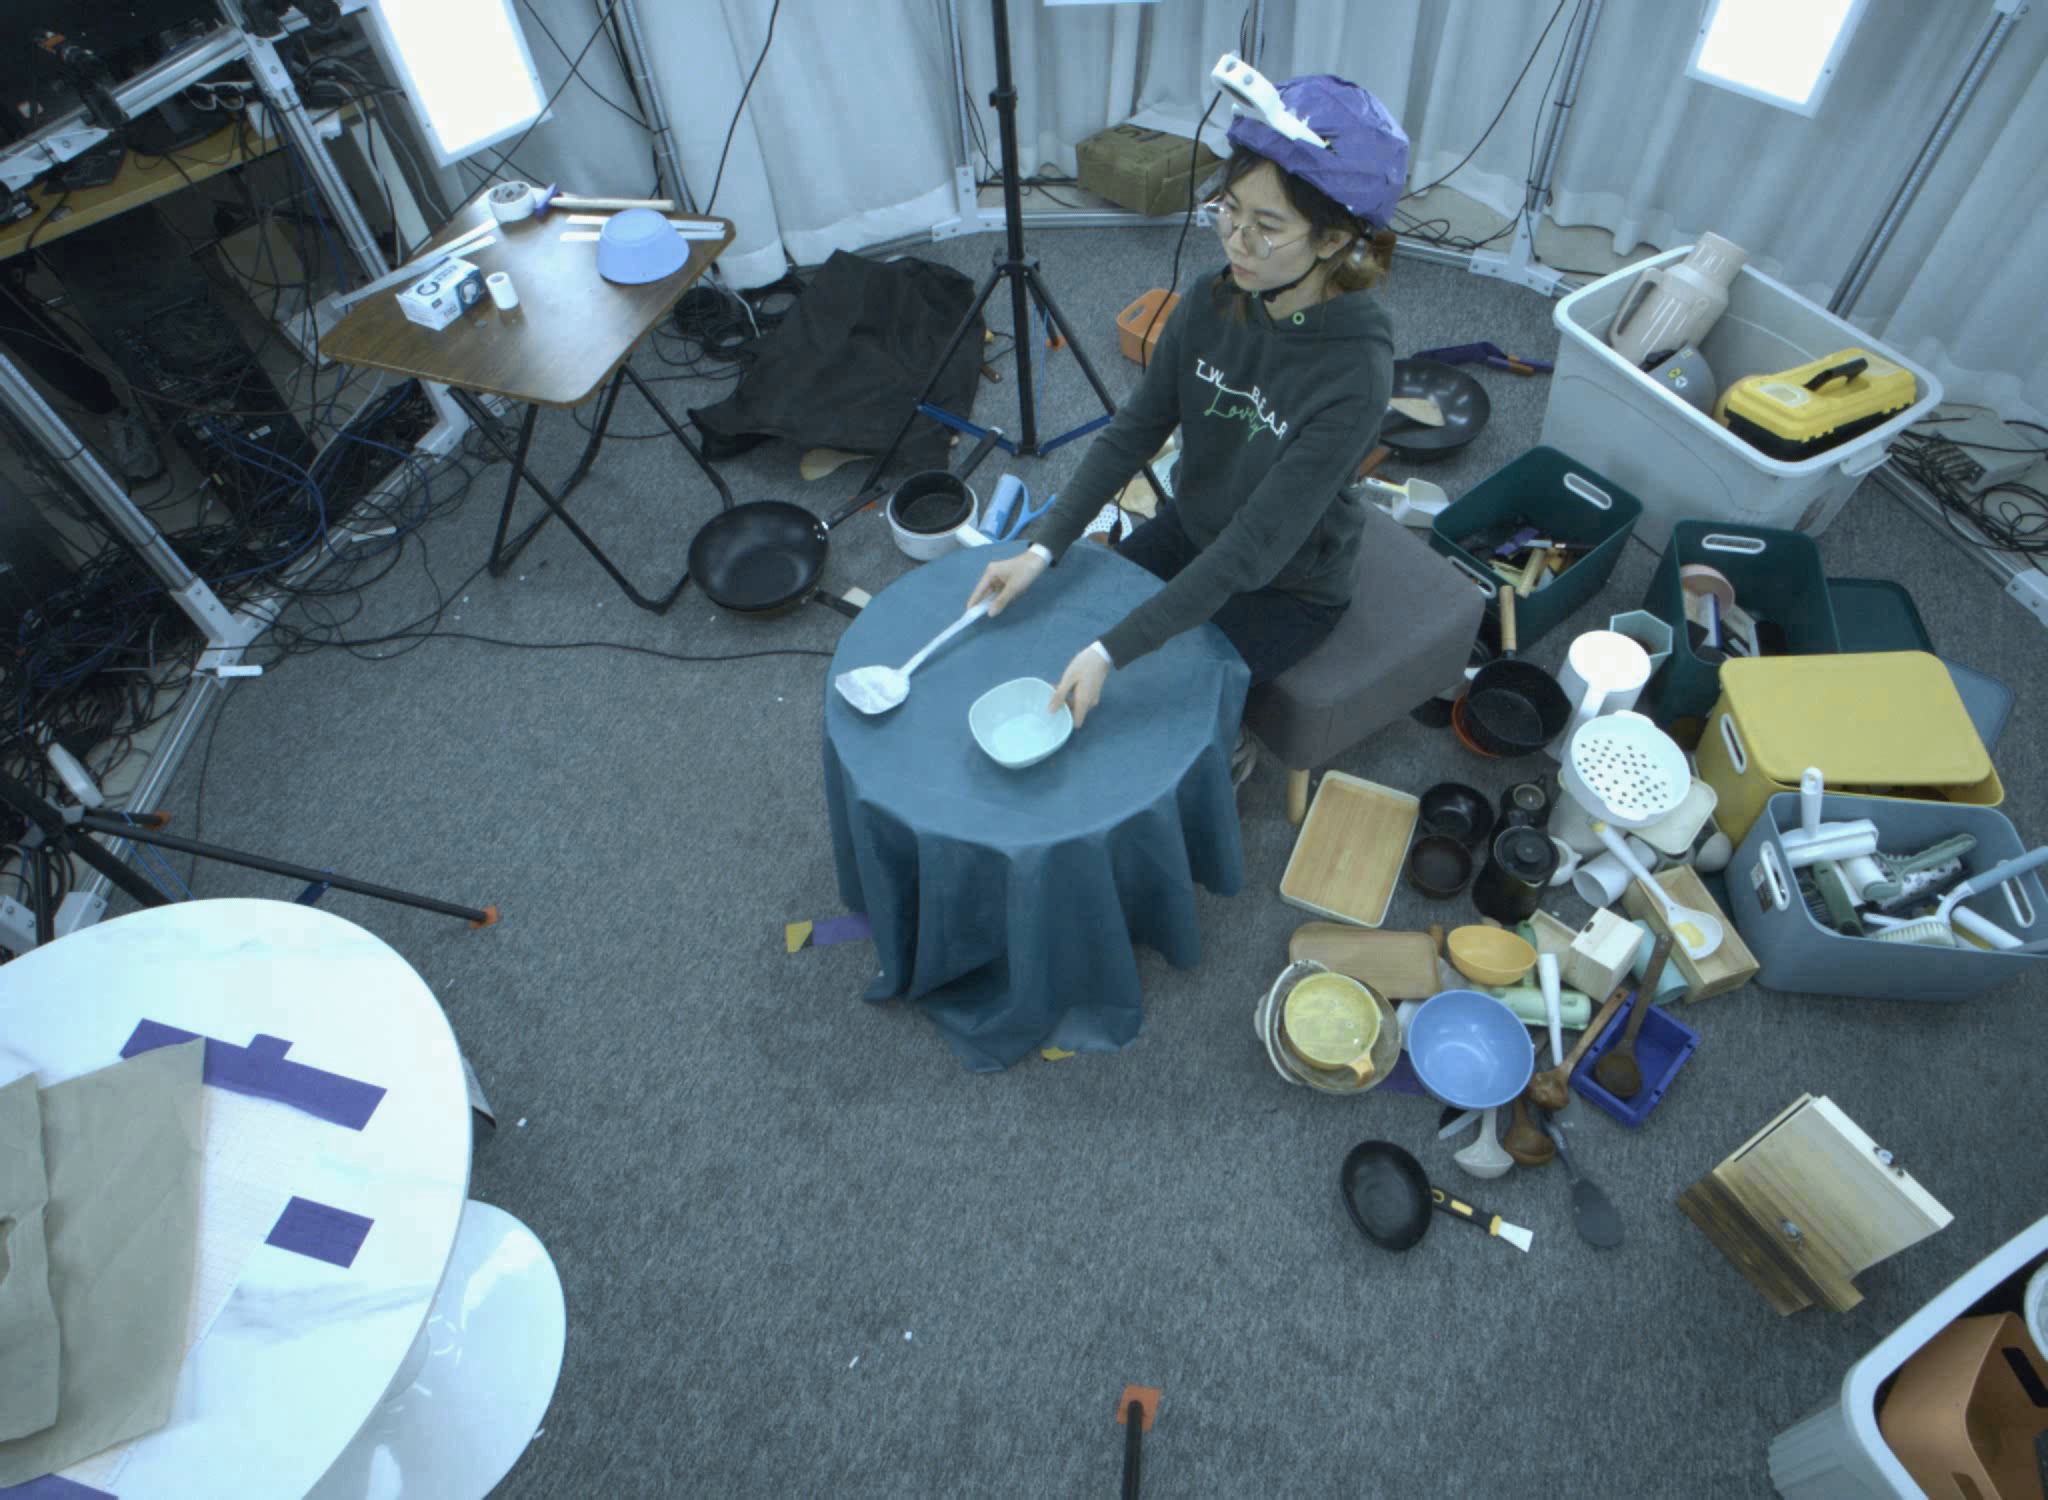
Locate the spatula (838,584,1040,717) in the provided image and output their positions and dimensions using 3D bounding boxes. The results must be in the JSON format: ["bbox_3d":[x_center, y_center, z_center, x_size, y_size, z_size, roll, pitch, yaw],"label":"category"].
[{"bbox_3d":[-0.121,-0.167,1.884,0.367,0.045,0.097,-39,61,-17],"label":"spatula"}]

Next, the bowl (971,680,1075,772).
[{"bbox_3d":[0.001,-0.024,1.779,0.151,0.059,0.150,-1,59,3],"label":"bowl"}]
